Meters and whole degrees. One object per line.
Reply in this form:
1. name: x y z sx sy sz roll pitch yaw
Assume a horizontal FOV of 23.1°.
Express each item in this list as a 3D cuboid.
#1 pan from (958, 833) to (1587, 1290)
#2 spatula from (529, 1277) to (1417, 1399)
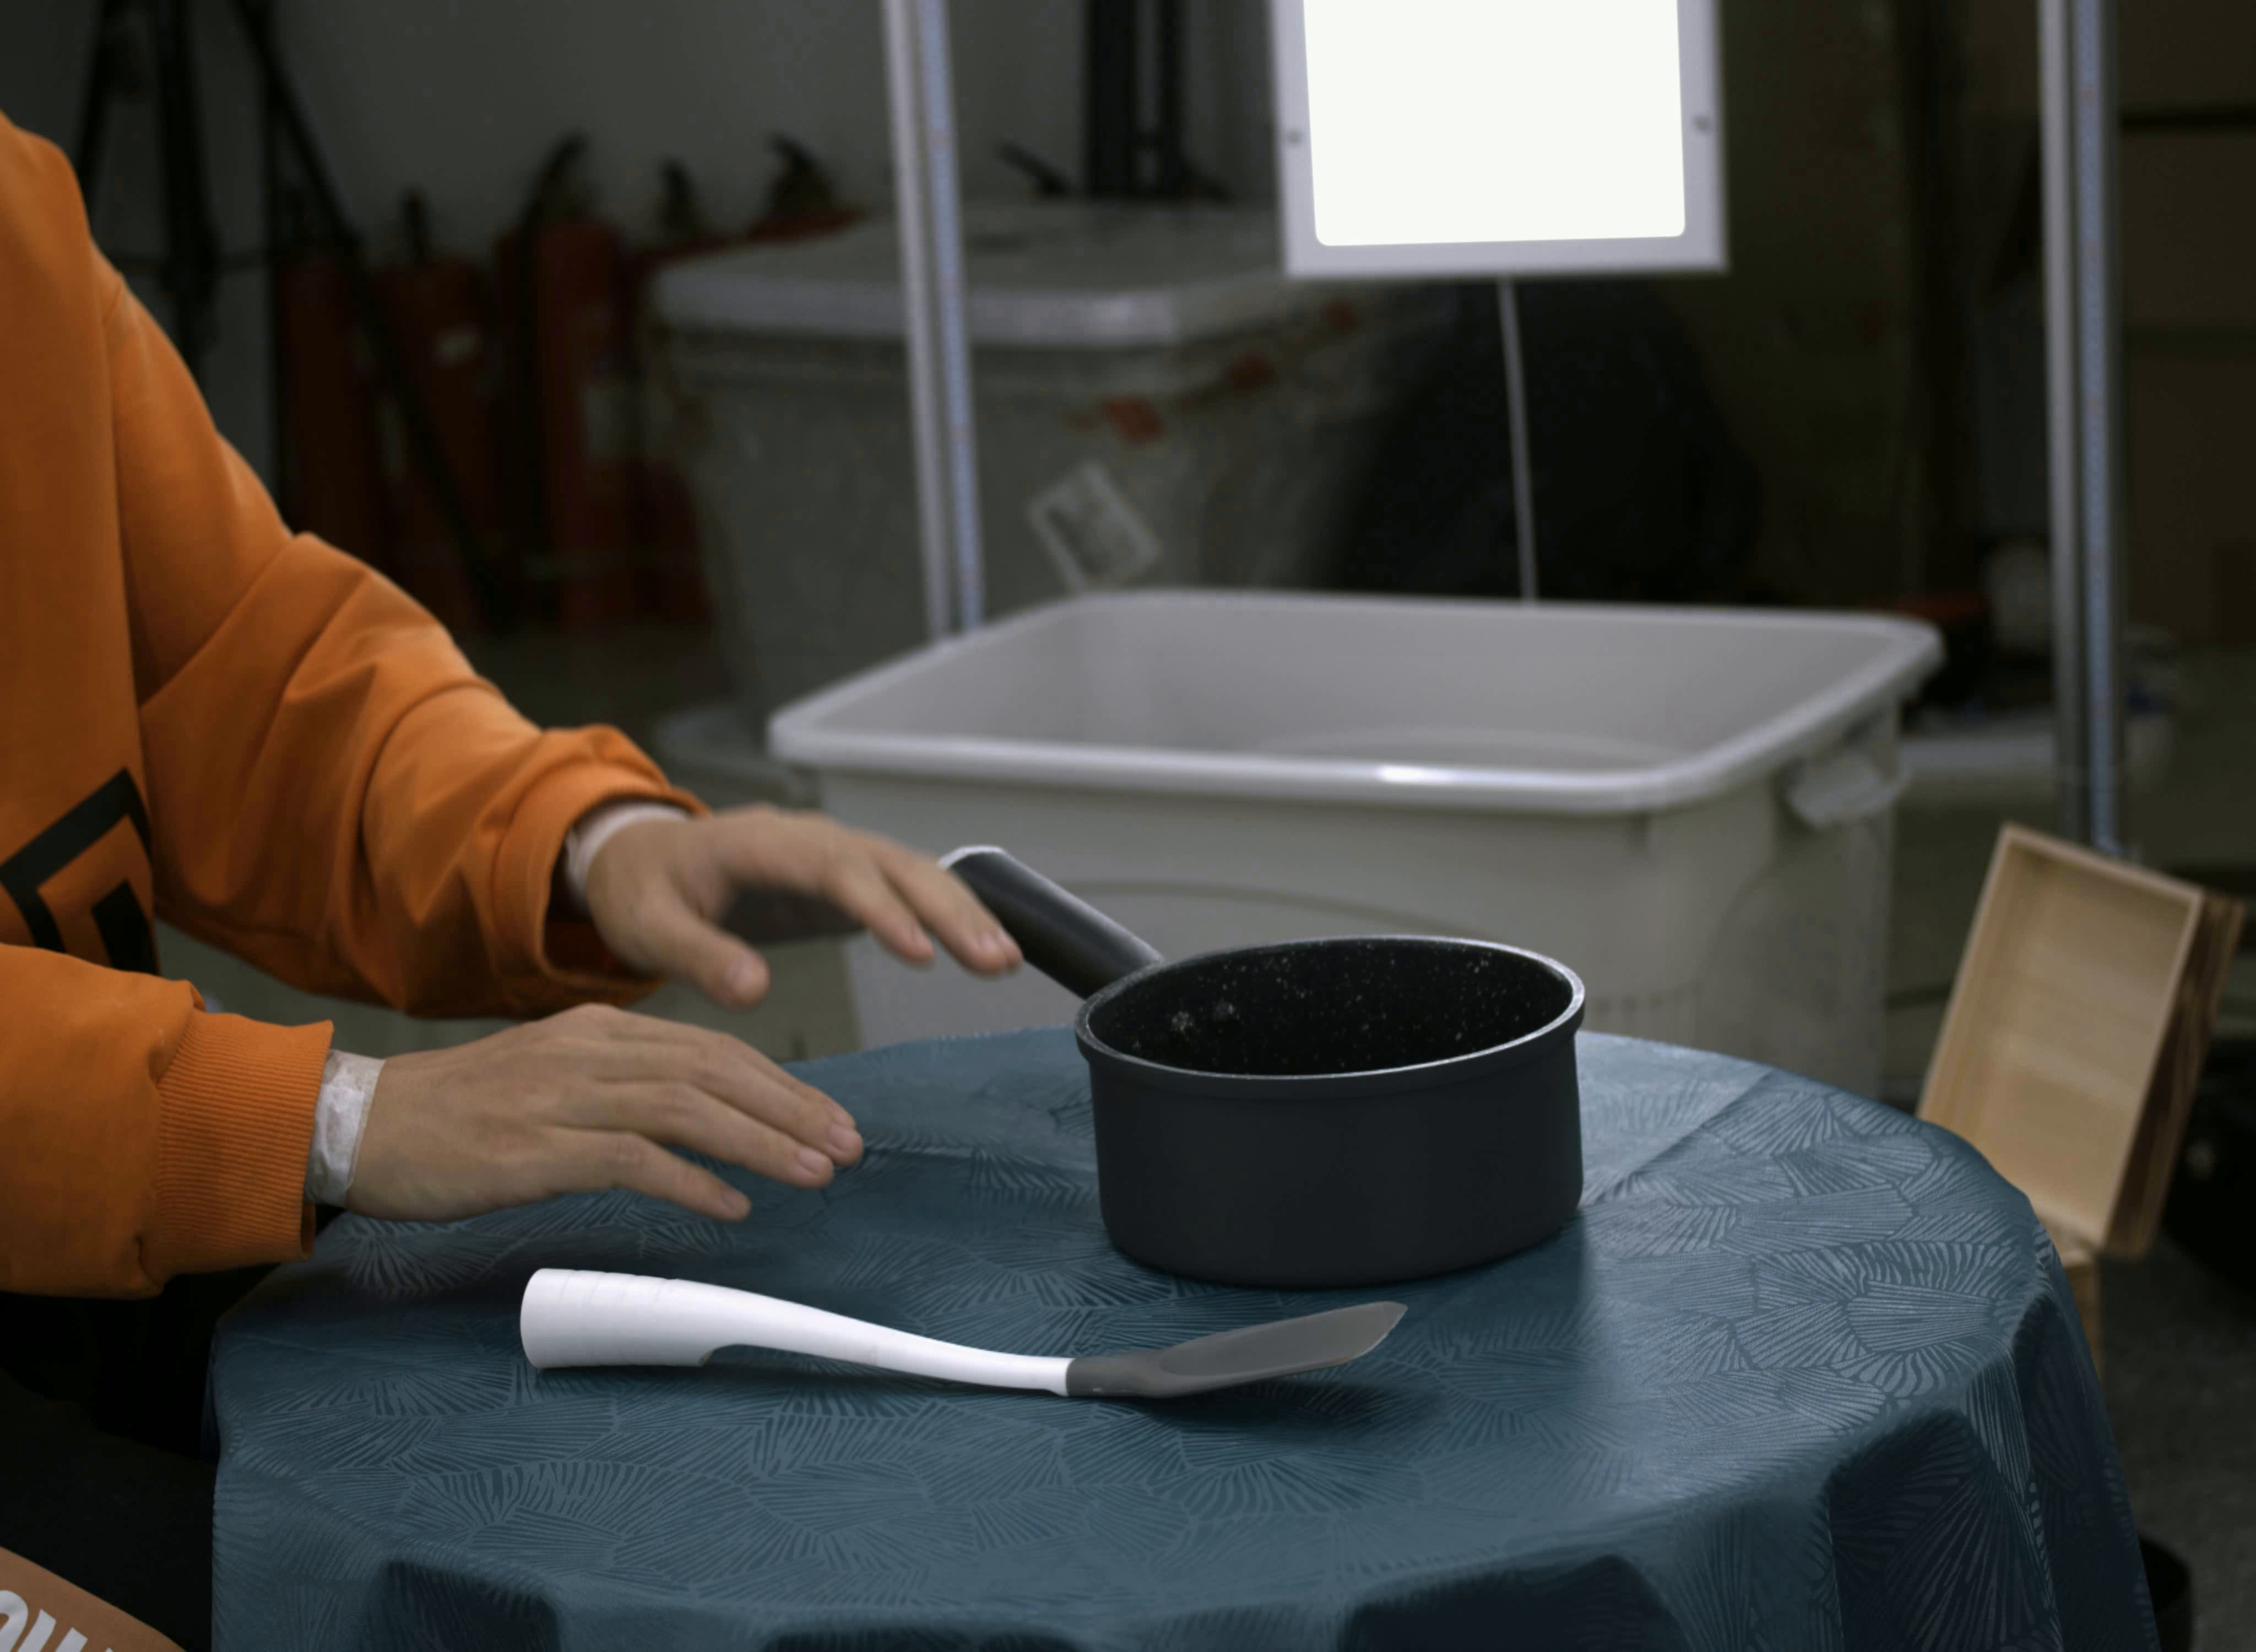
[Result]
1. pan: 0.030 0.077 1.909 0.168 0.087 0.334 -11 17 -27
2. spatula: -0.050 0.160 1.713 0.292 0.032 0.057 0 13 22
